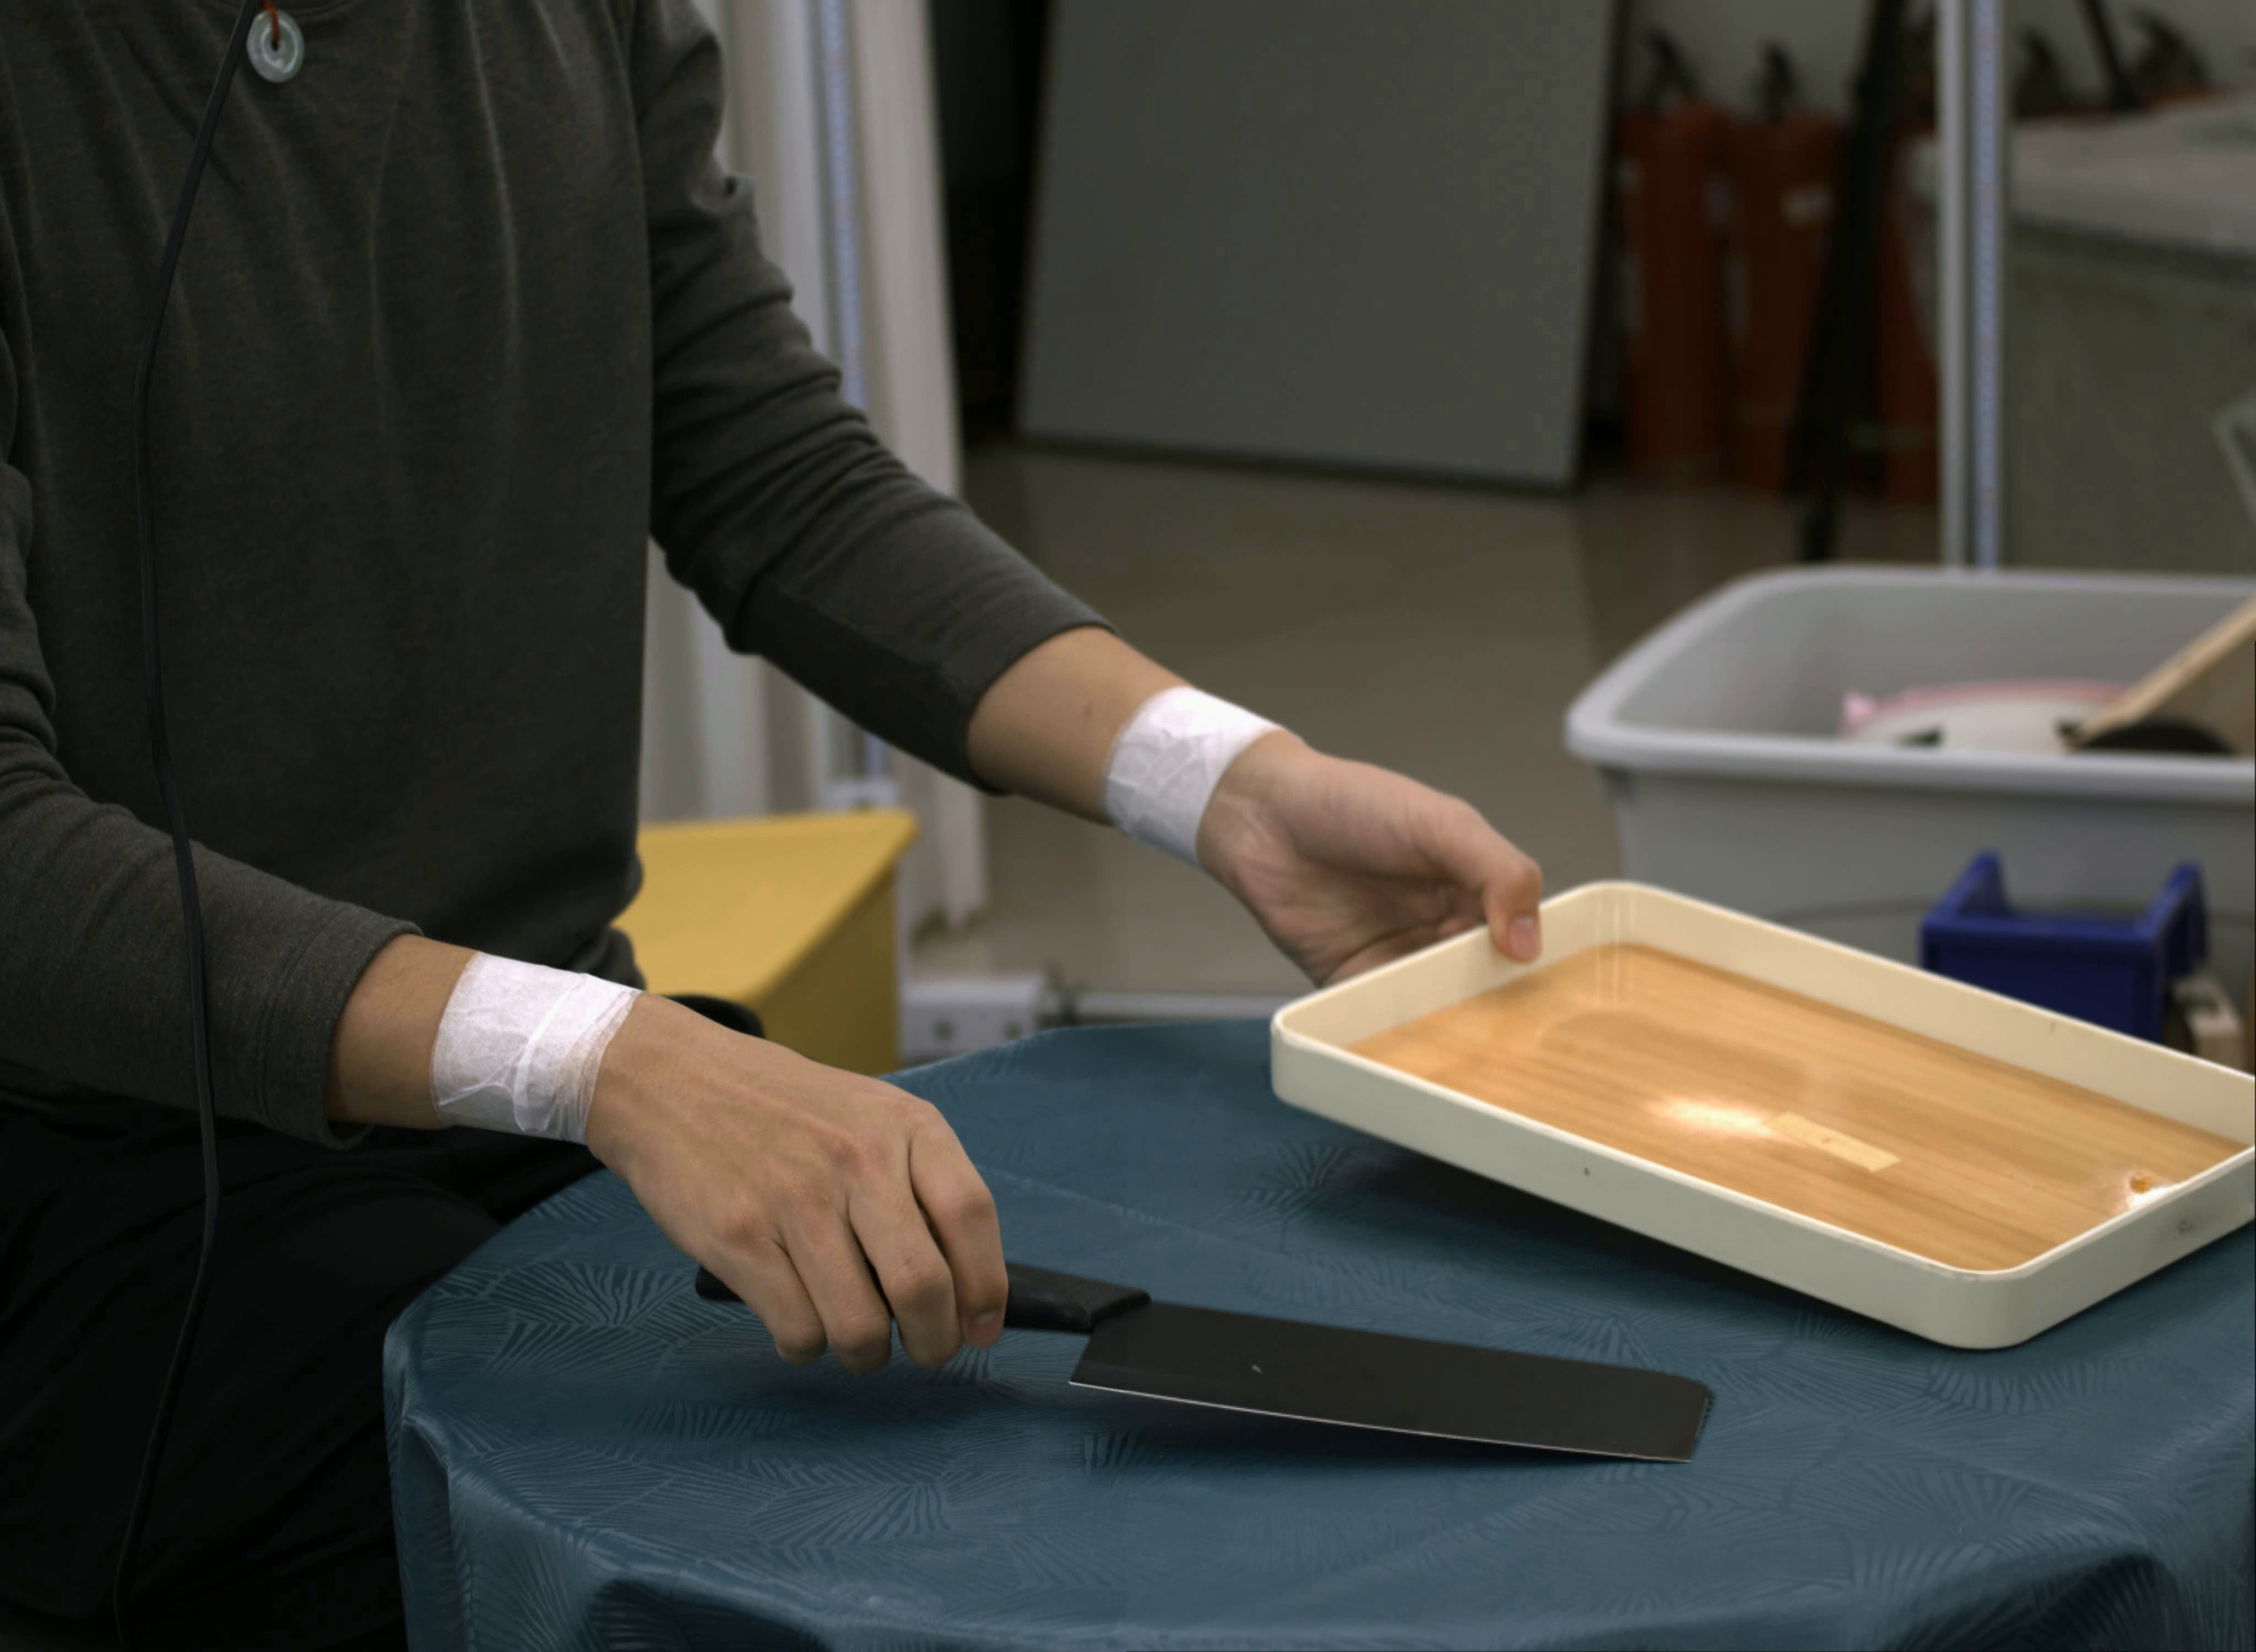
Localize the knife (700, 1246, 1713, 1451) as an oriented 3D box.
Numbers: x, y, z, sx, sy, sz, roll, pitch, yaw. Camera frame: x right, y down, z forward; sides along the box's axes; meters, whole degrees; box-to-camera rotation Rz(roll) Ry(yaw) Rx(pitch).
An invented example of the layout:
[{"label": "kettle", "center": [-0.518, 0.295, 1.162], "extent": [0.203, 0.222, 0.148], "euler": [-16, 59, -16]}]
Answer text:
[{"label": "knife", "center": [0.021, 0.152, 1.558], "extent": [0.301, 0.021, 0.080], "euler": [7, 16, 16]}]

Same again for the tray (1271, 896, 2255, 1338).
[{"label": "tray", "center": [0.210, 0.088, 1.719], "extent": [0.303, 0.028, 0.188], "euler": [17, 25, 42]}]
